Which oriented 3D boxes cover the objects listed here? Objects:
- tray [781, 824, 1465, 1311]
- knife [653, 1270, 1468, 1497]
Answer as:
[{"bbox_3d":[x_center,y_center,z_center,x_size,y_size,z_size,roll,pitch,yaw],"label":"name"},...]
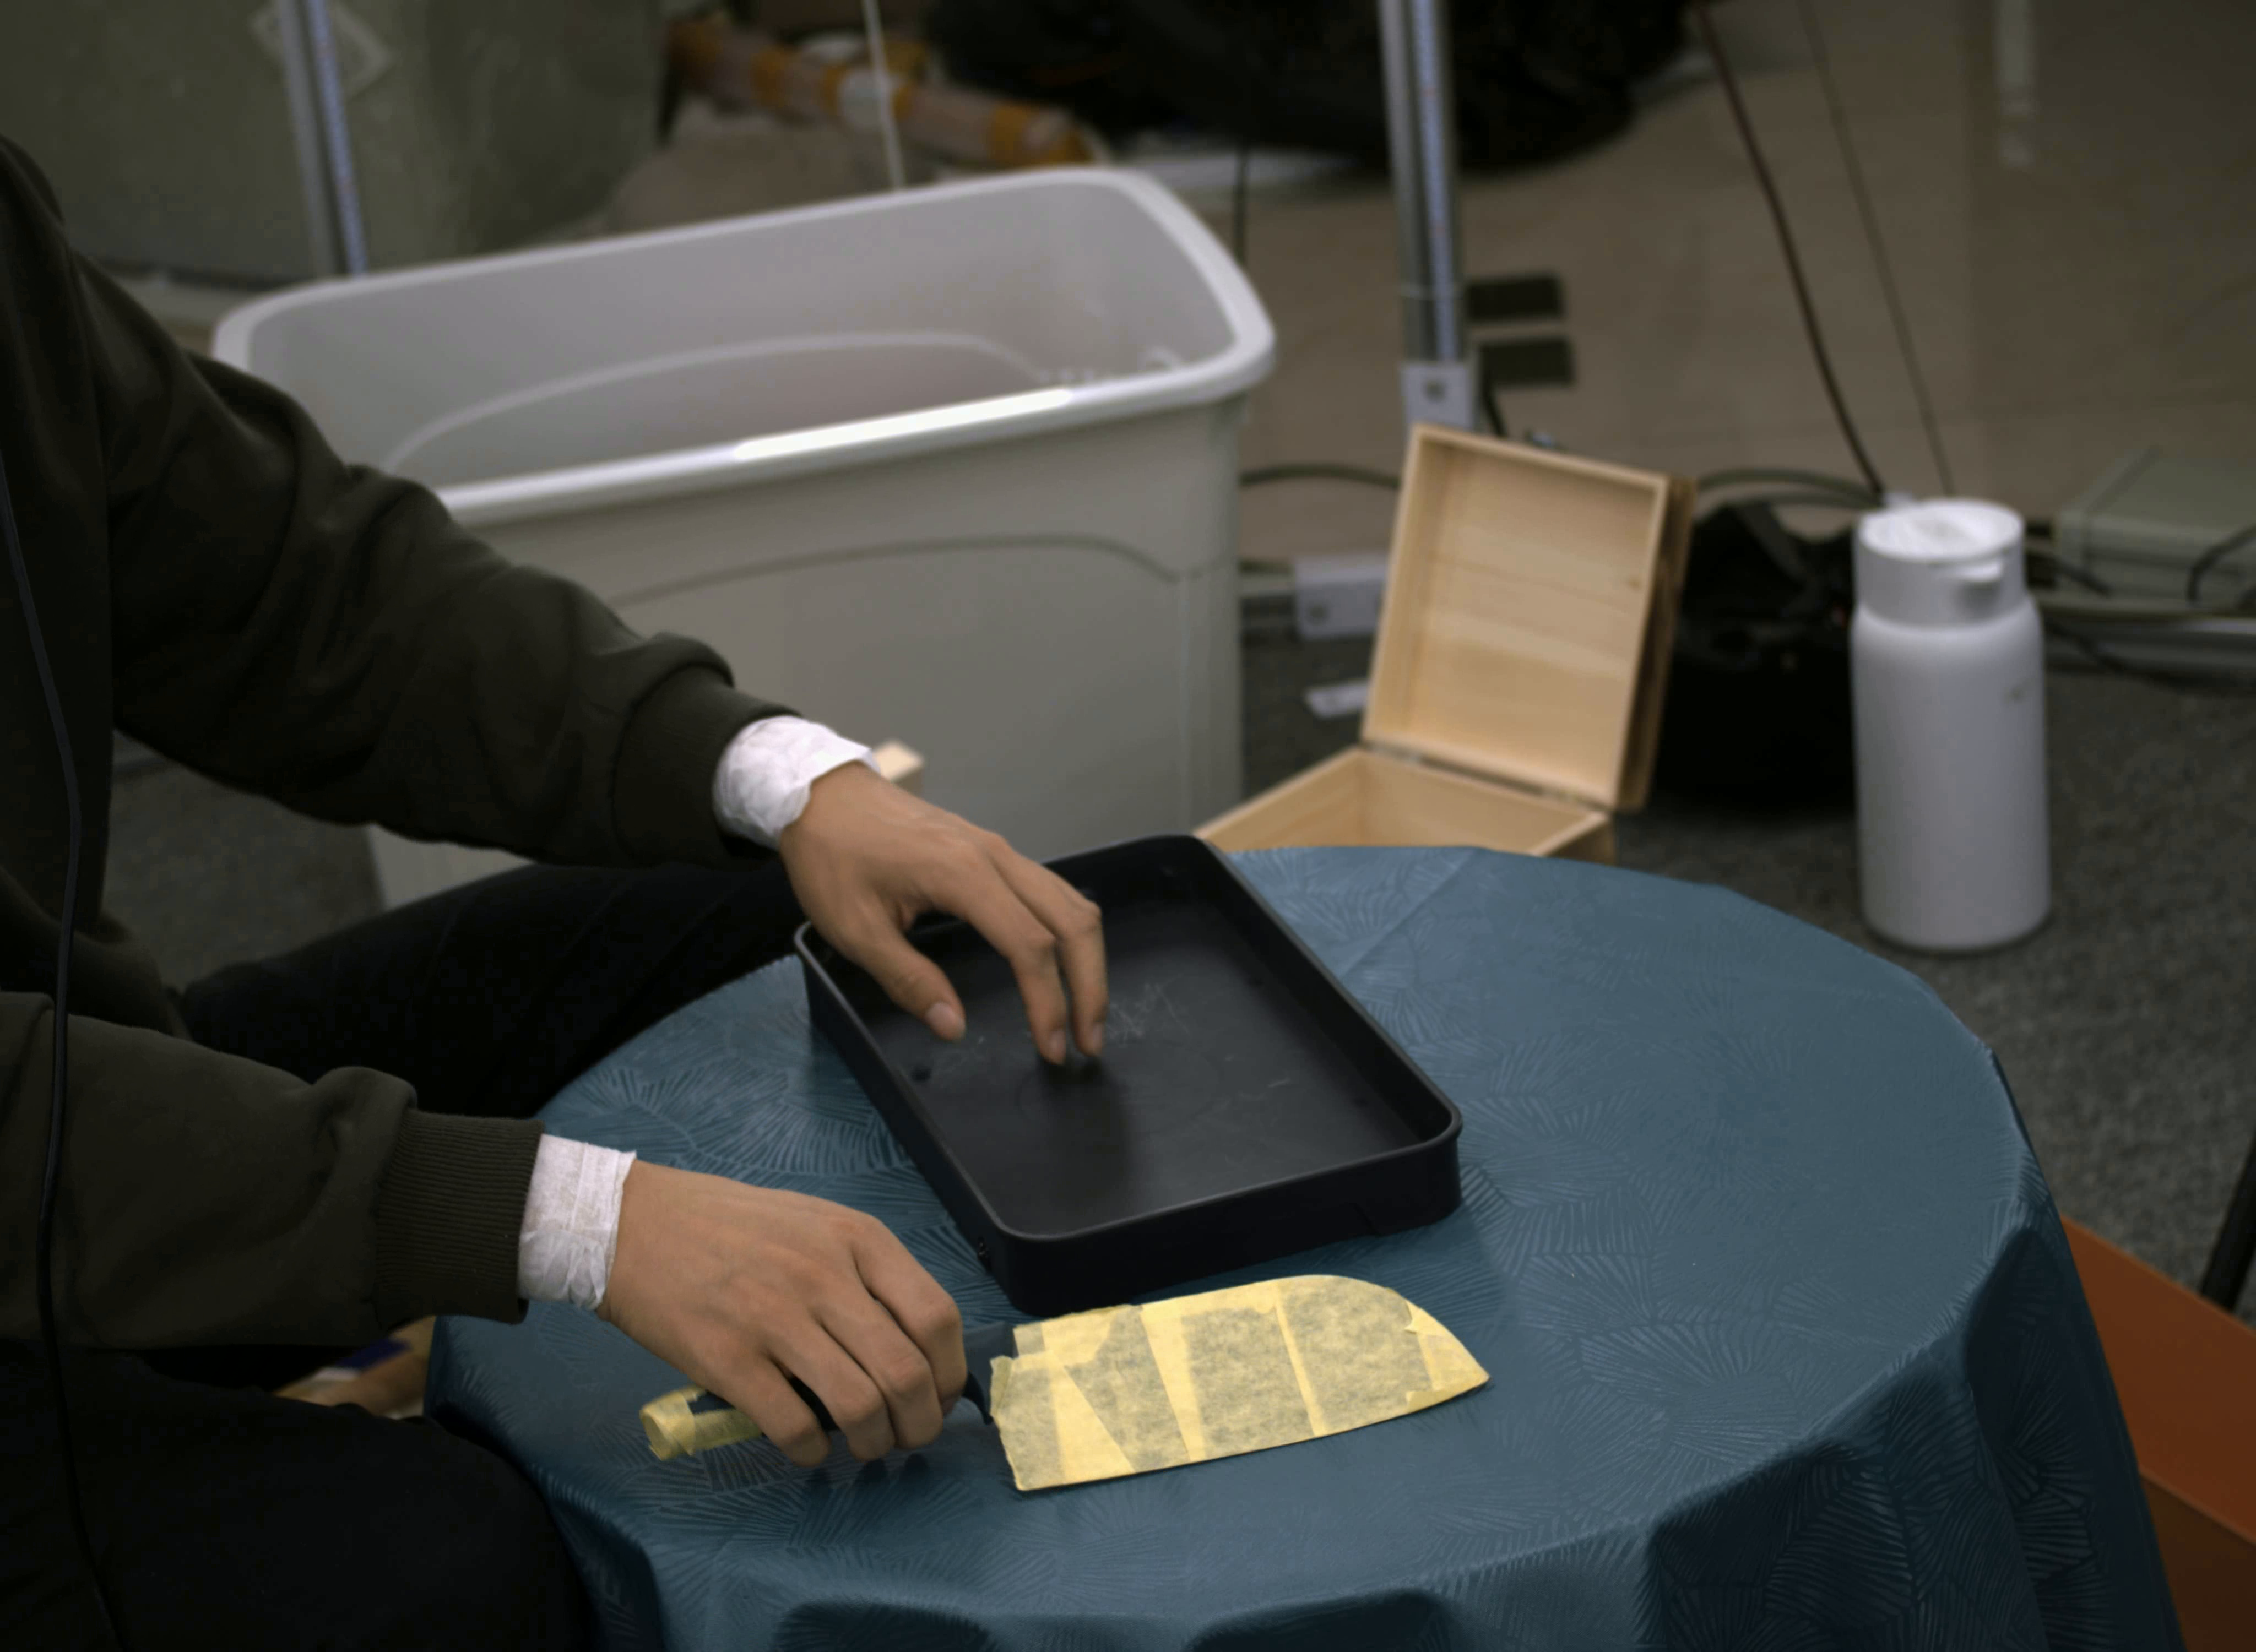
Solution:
[{"bbox_3d":[-0.007,0.089,2.218,0.183,0.037,0.314,-15,26,-16],"label":"tray"},{"bbox_3d":[-0.022,0.202,1.989,0.289,0.028,0.079,-9,44,-5],"label":"knife"}]
